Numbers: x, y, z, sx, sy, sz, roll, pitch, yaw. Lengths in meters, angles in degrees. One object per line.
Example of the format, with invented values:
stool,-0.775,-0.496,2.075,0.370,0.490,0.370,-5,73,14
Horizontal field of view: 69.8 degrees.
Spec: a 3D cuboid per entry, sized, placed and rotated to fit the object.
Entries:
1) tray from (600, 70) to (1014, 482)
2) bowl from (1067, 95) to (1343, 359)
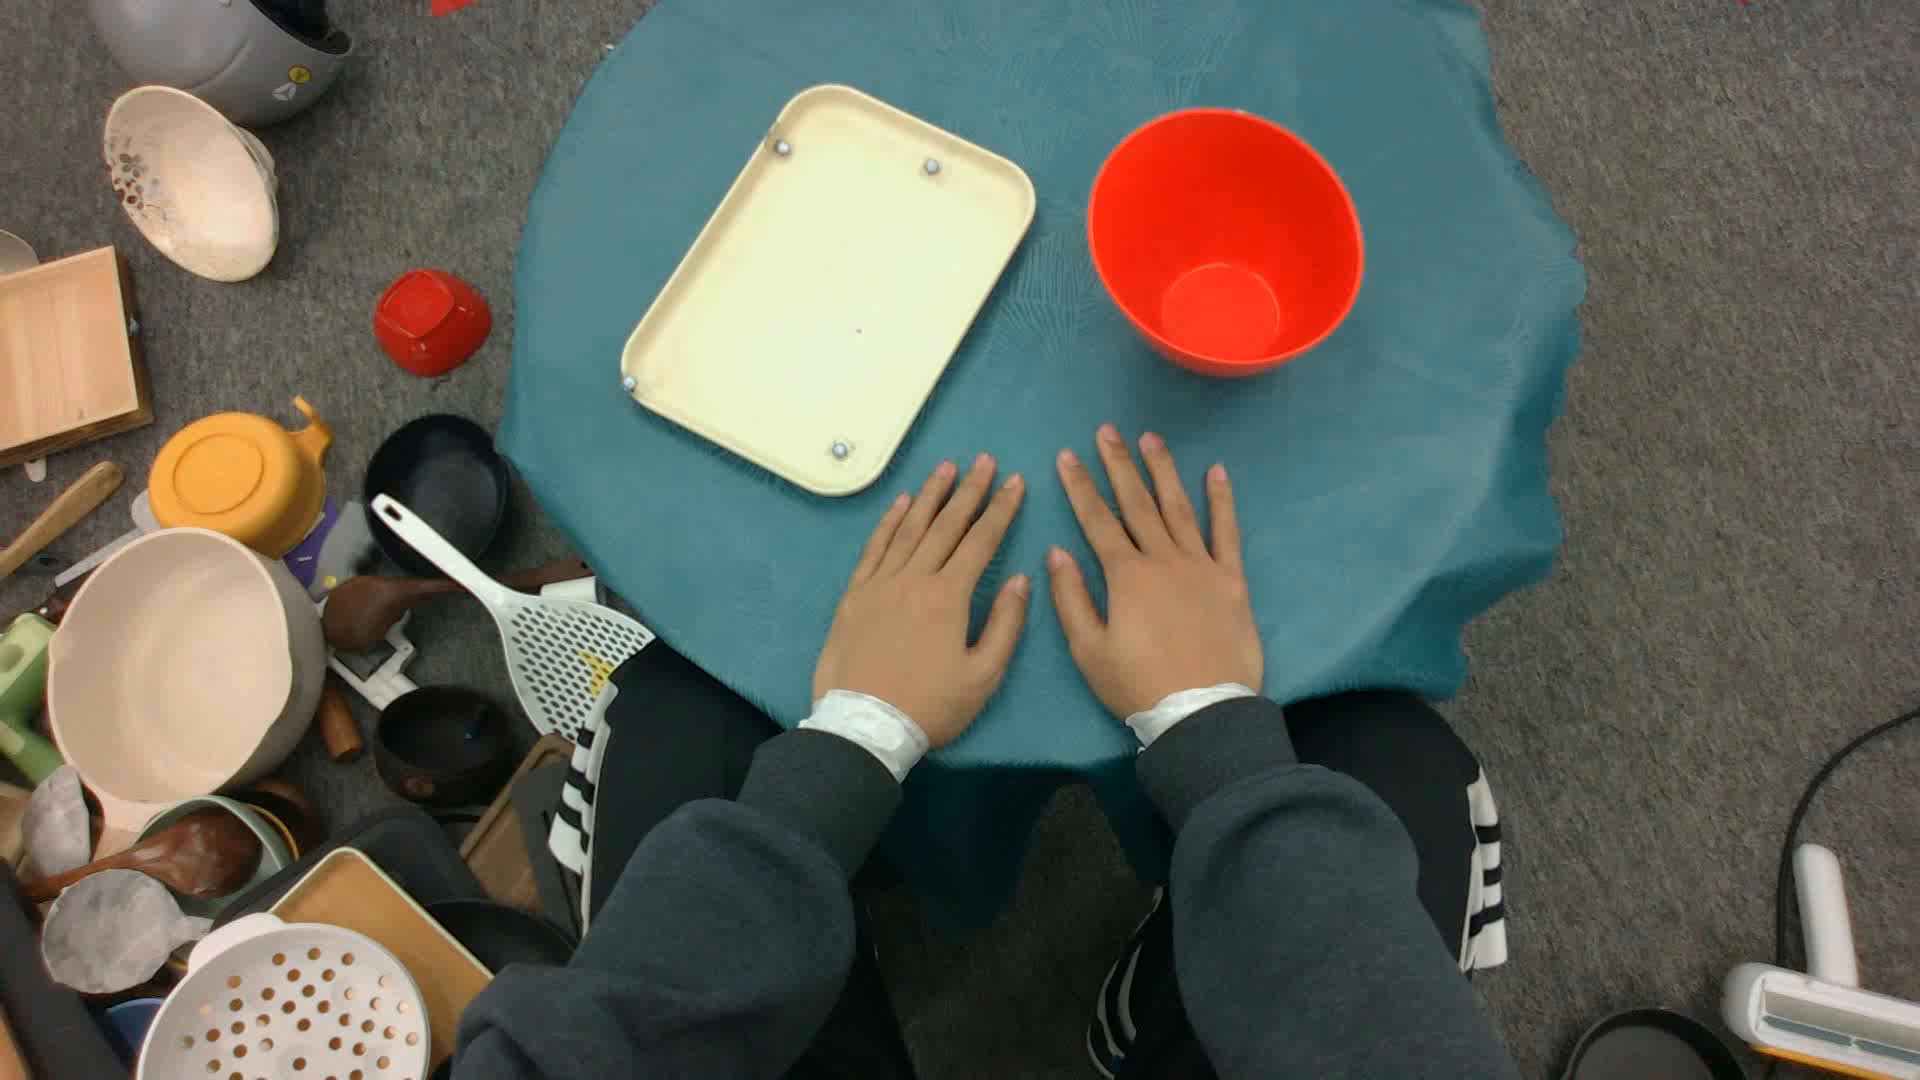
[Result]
tray,-0.086,-0.158,0.808,0.171,0.017,0.240,27,74,8
bowl,0.131,-0.158,0.762,0.148,0.104,0.148,0,70,1
